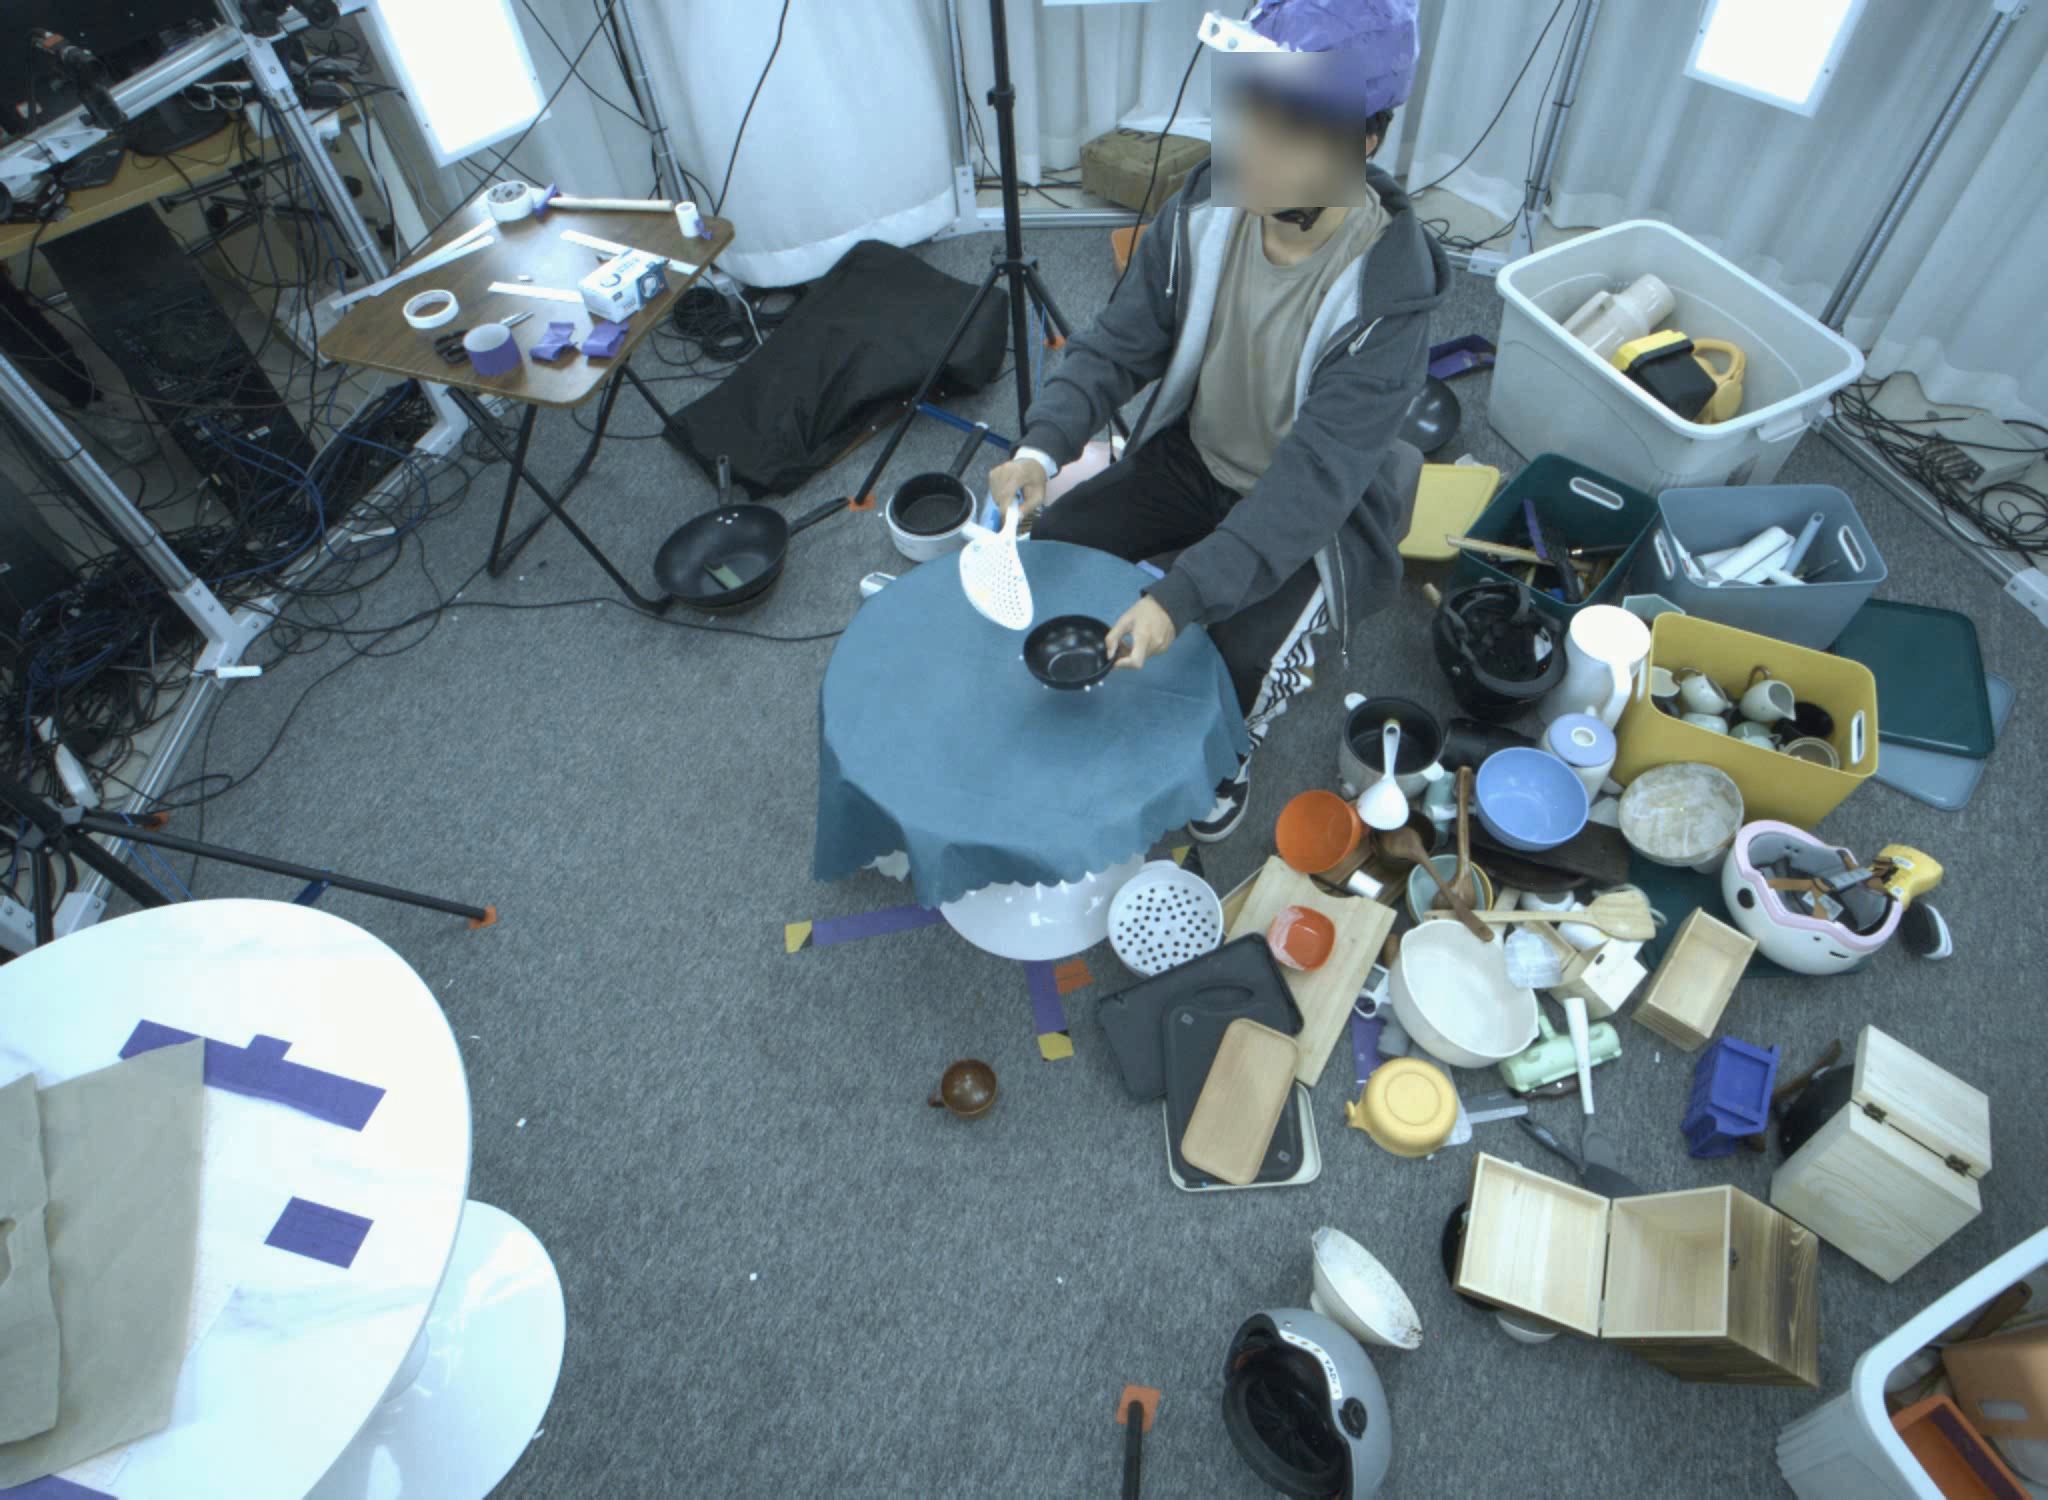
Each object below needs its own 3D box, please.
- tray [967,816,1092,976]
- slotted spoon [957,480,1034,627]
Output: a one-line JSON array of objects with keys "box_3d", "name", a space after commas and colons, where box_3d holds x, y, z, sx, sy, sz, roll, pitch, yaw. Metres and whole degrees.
[{"box_3d": [0.007, 0.266, 2.278, 0.192, 0.028, 0.296, -9, 56, -4], "name": "tray"}, {"box_3d": [-0.038, -0.300, 1.781, 0.139, 0.050, 0.345, 35, 42, -25], "name": "slotted spoon"}]
